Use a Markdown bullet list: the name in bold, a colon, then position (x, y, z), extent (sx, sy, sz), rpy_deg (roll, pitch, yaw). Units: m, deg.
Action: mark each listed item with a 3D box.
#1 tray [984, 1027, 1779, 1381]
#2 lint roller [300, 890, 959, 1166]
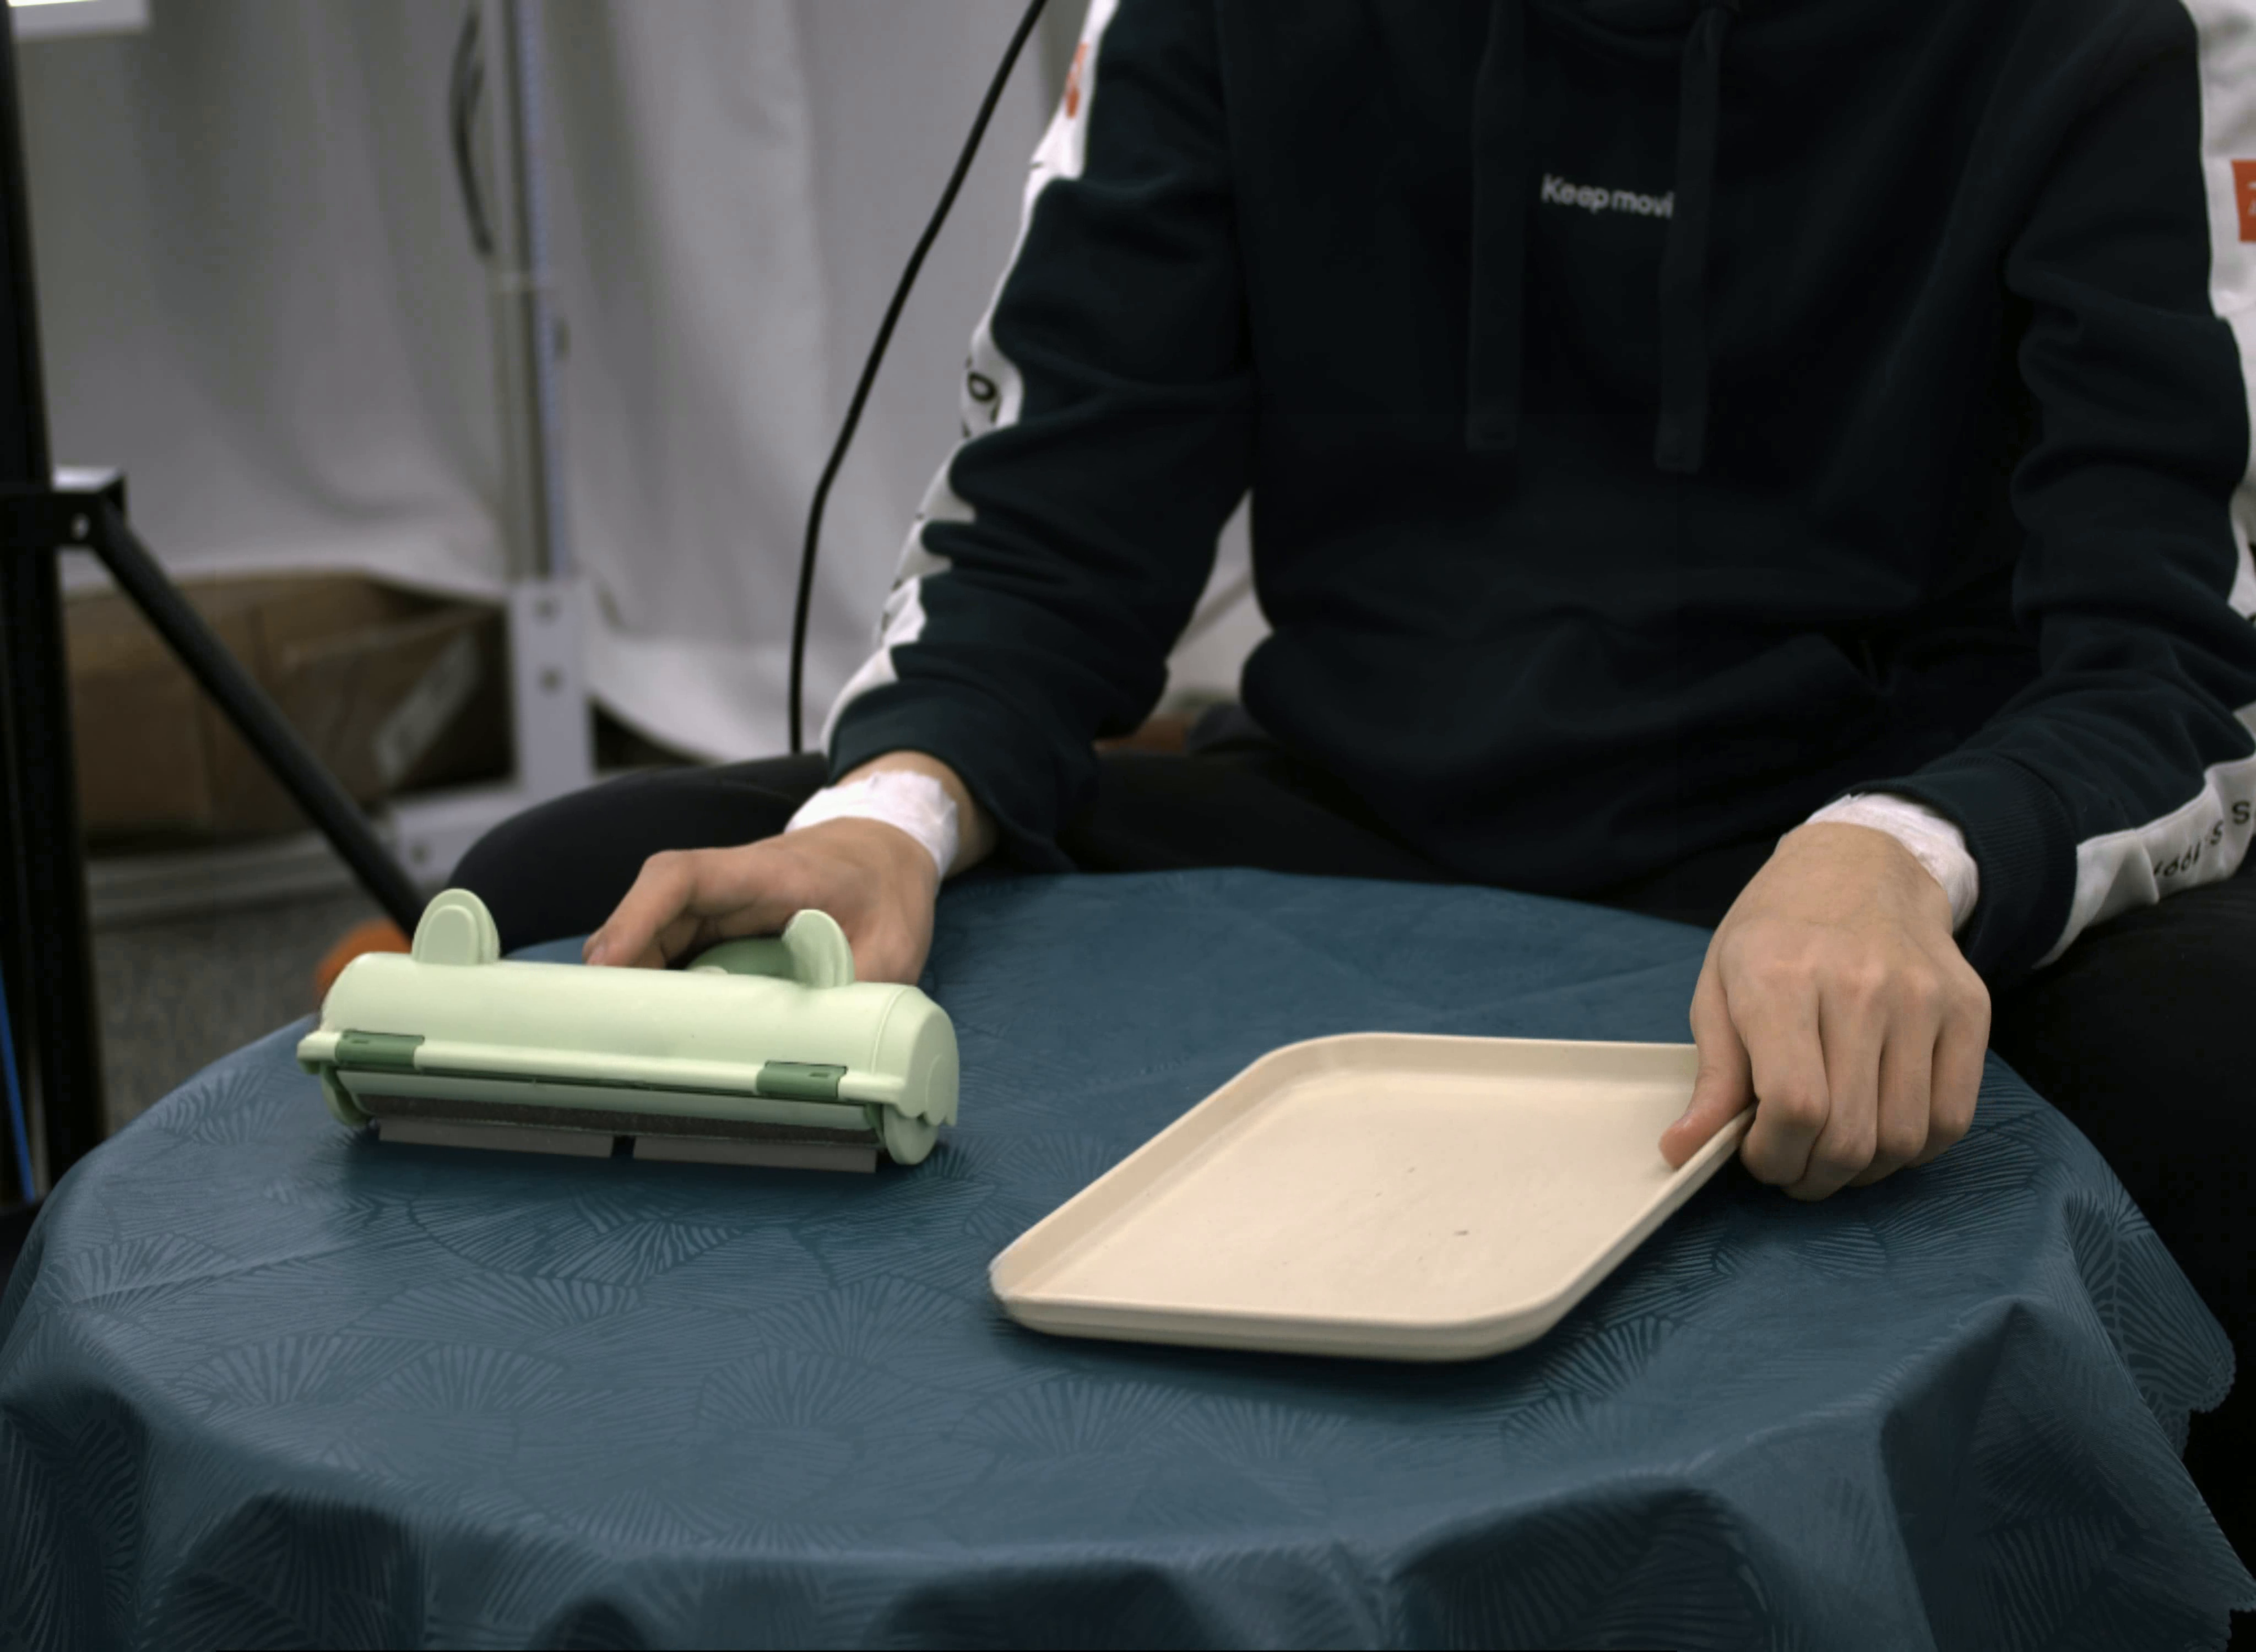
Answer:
- **tray**: position (0.076, 0.106, 1.506), extent (0.174, 0.017, 0.236), rpy_deg (3, 18, 26)
- **lint roller**: position (-0.134, 0.045, 1.662), extent (0.201, 0.082, 0.181), rpy_deg (2, 21, 19)
